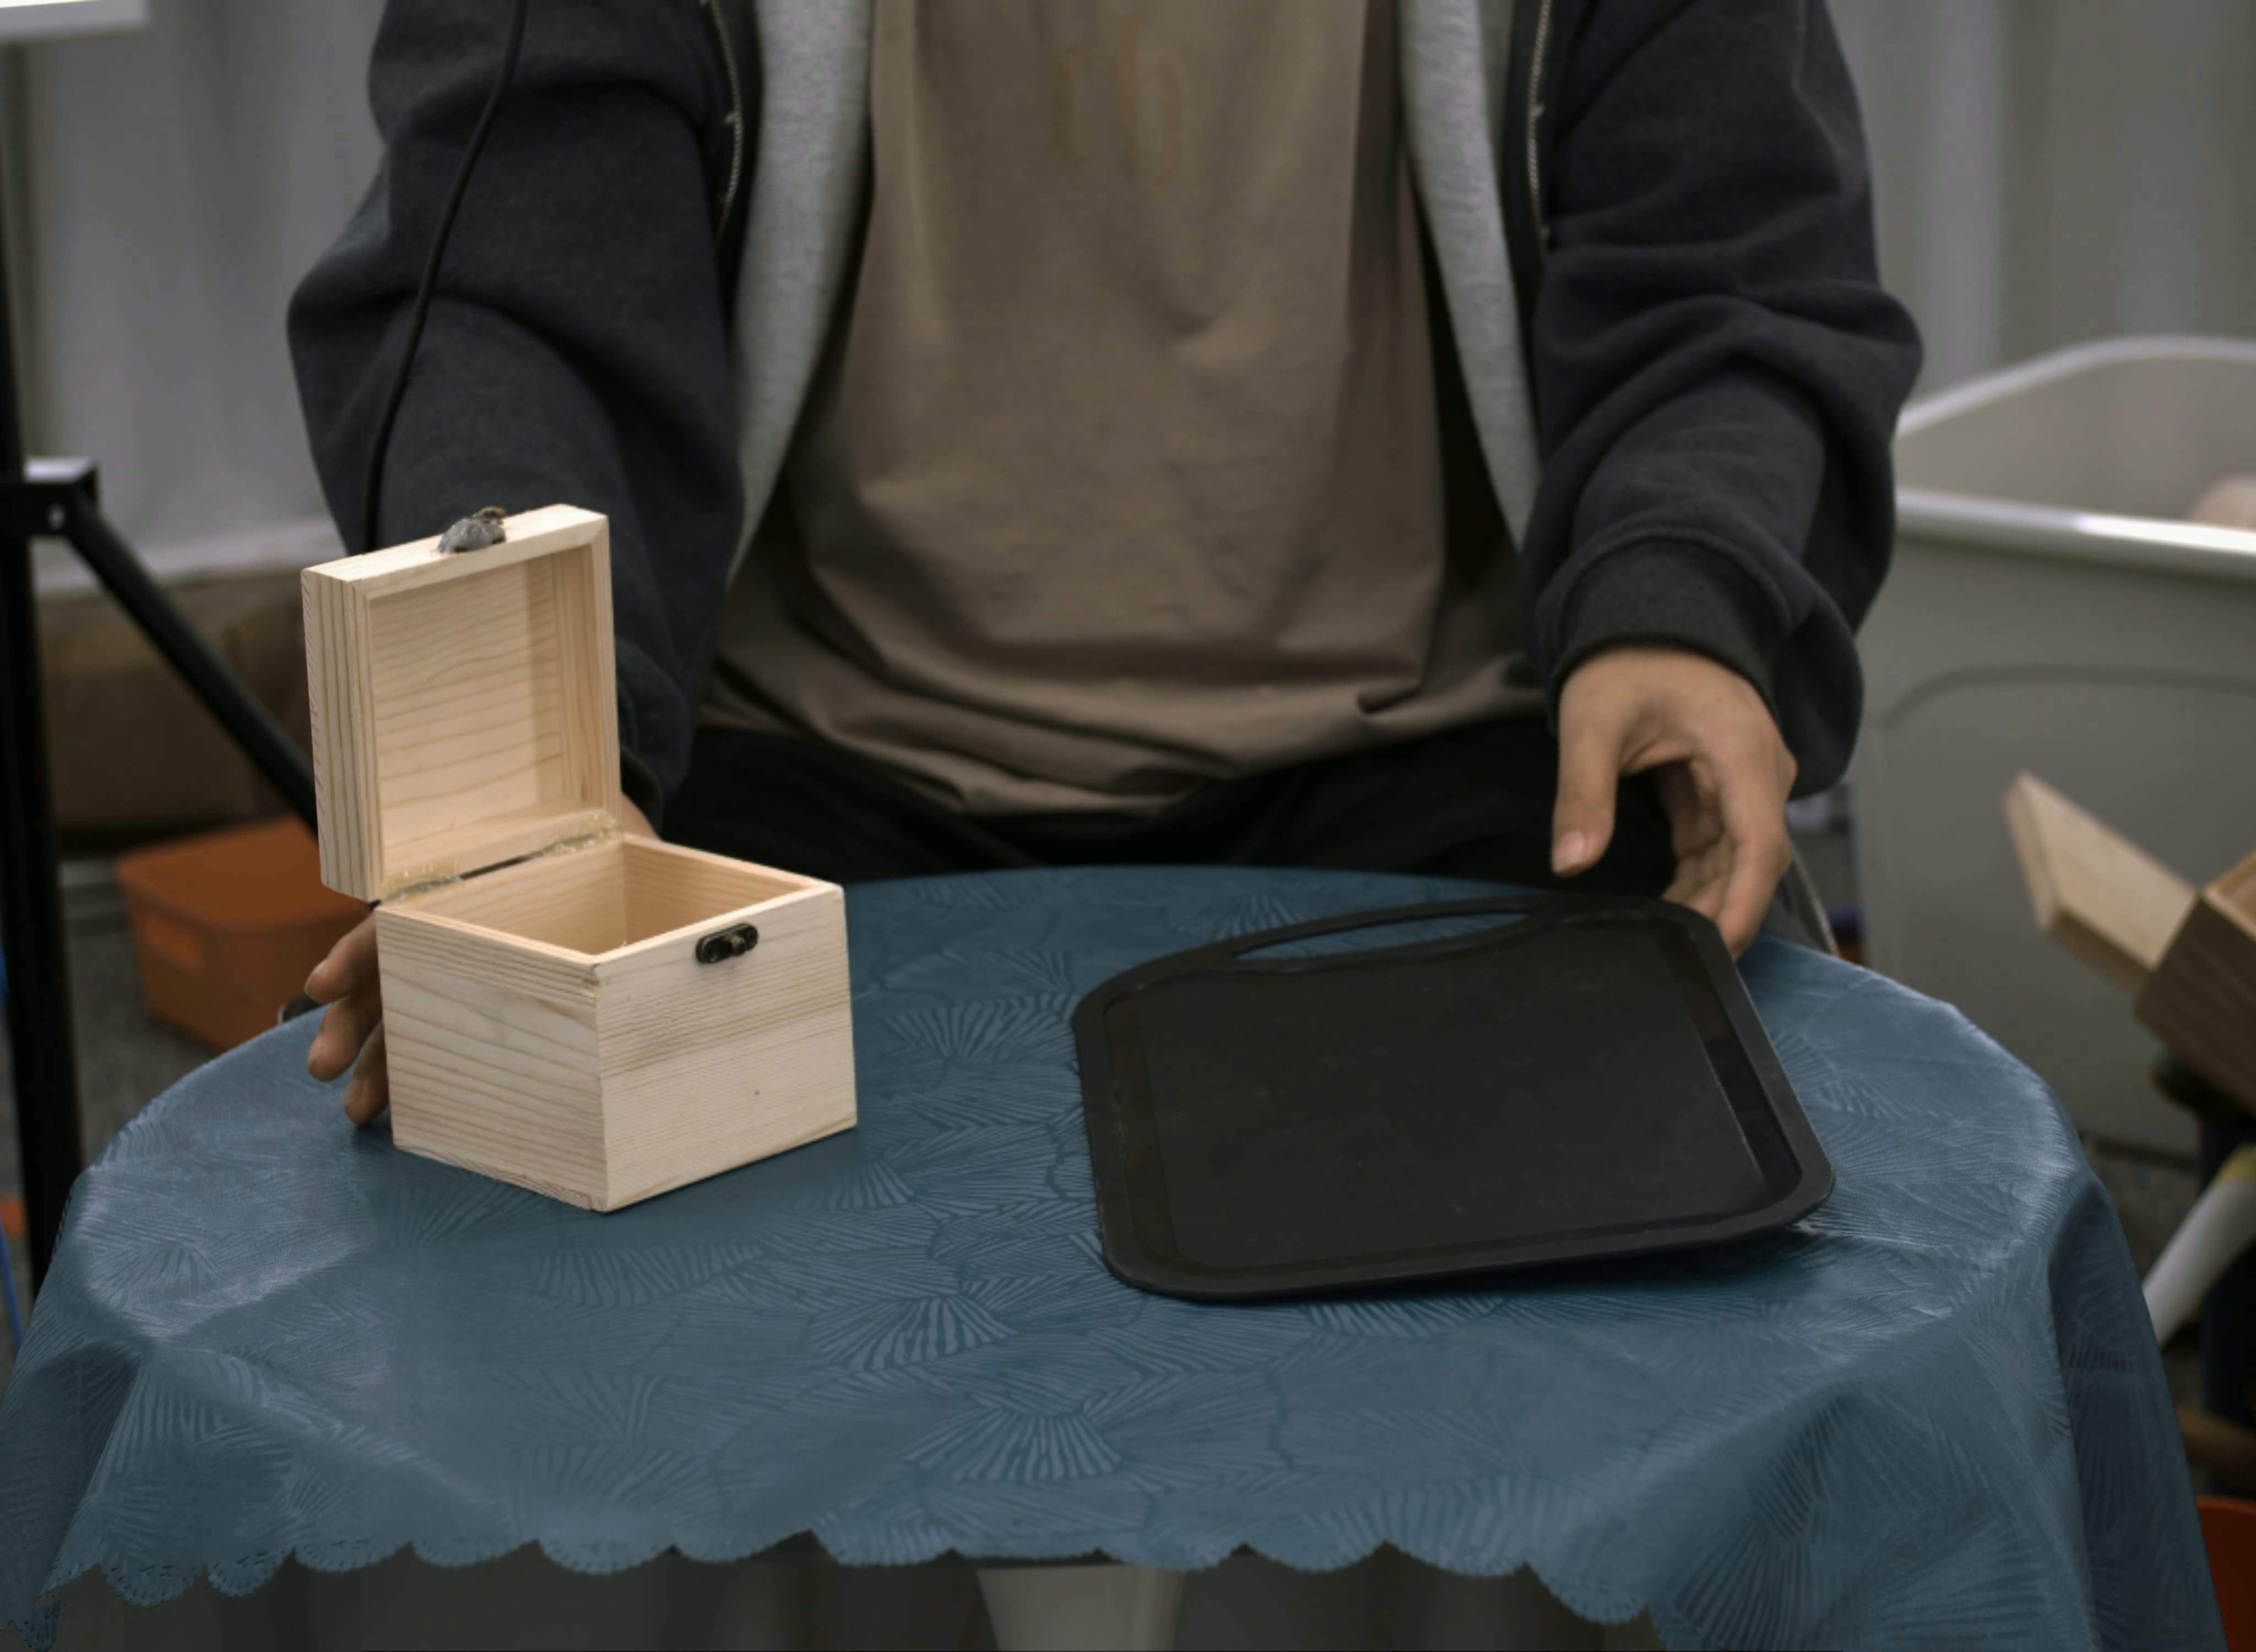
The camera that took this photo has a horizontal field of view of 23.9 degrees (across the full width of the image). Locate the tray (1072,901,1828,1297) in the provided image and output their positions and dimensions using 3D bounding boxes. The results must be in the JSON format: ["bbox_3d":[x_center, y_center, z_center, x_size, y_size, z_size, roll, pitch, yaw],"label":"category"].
[{"bbox_3d":[0.089,0.076,1.617,0.210,0.010,0.327,-7,17,0],"label":"tray"}]

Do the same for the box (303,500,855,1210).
[{"bbox_3d":[-0.164,0.005,1.613,0.137,0.184,0.100,11,21,44],"label":"box"}]
